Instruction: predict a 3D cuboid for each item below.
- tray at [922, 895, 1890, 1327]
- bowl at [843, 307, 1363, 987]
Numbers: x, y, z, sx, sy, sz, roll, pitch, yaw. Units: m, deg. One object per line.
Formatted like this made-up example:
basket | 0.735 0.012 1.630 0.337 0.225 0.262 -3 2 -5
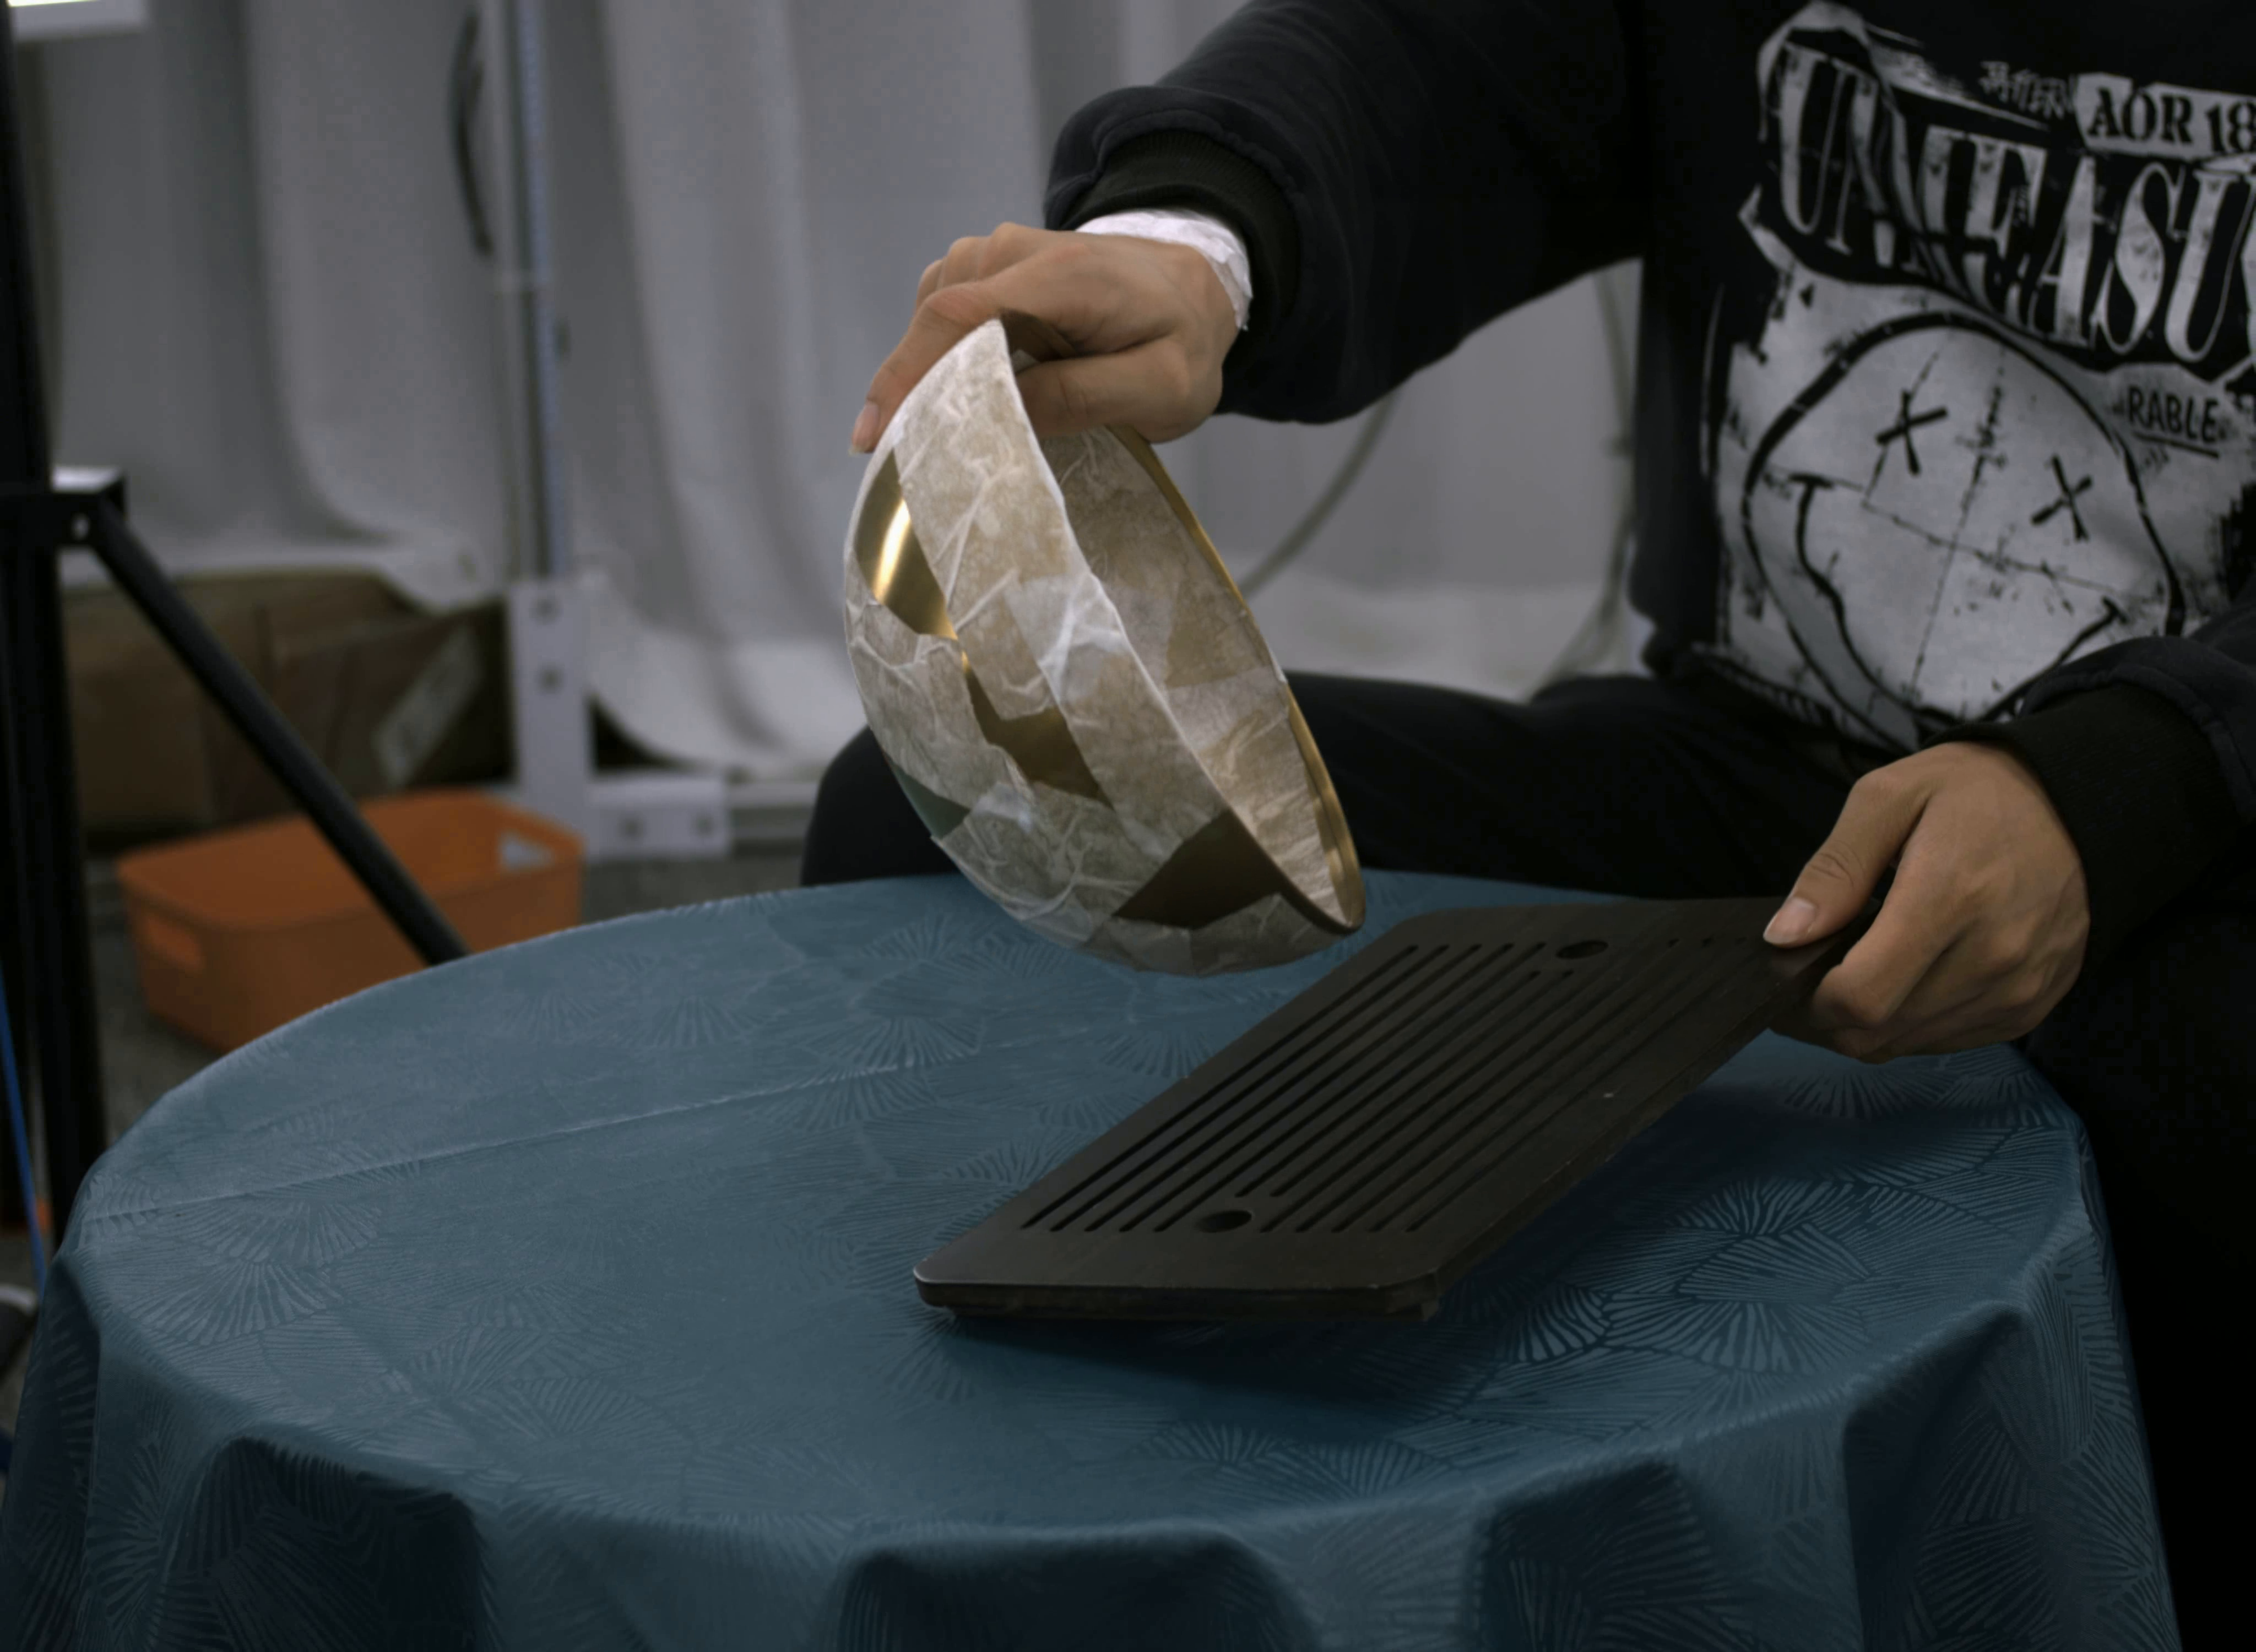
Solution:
tray | 0.087 0.081 1.525 0.173 0.018 0.301 -3 18 35
bowl | -0.019 -0.033 1.502 0.095 0.213 0.215 -28 12 10
